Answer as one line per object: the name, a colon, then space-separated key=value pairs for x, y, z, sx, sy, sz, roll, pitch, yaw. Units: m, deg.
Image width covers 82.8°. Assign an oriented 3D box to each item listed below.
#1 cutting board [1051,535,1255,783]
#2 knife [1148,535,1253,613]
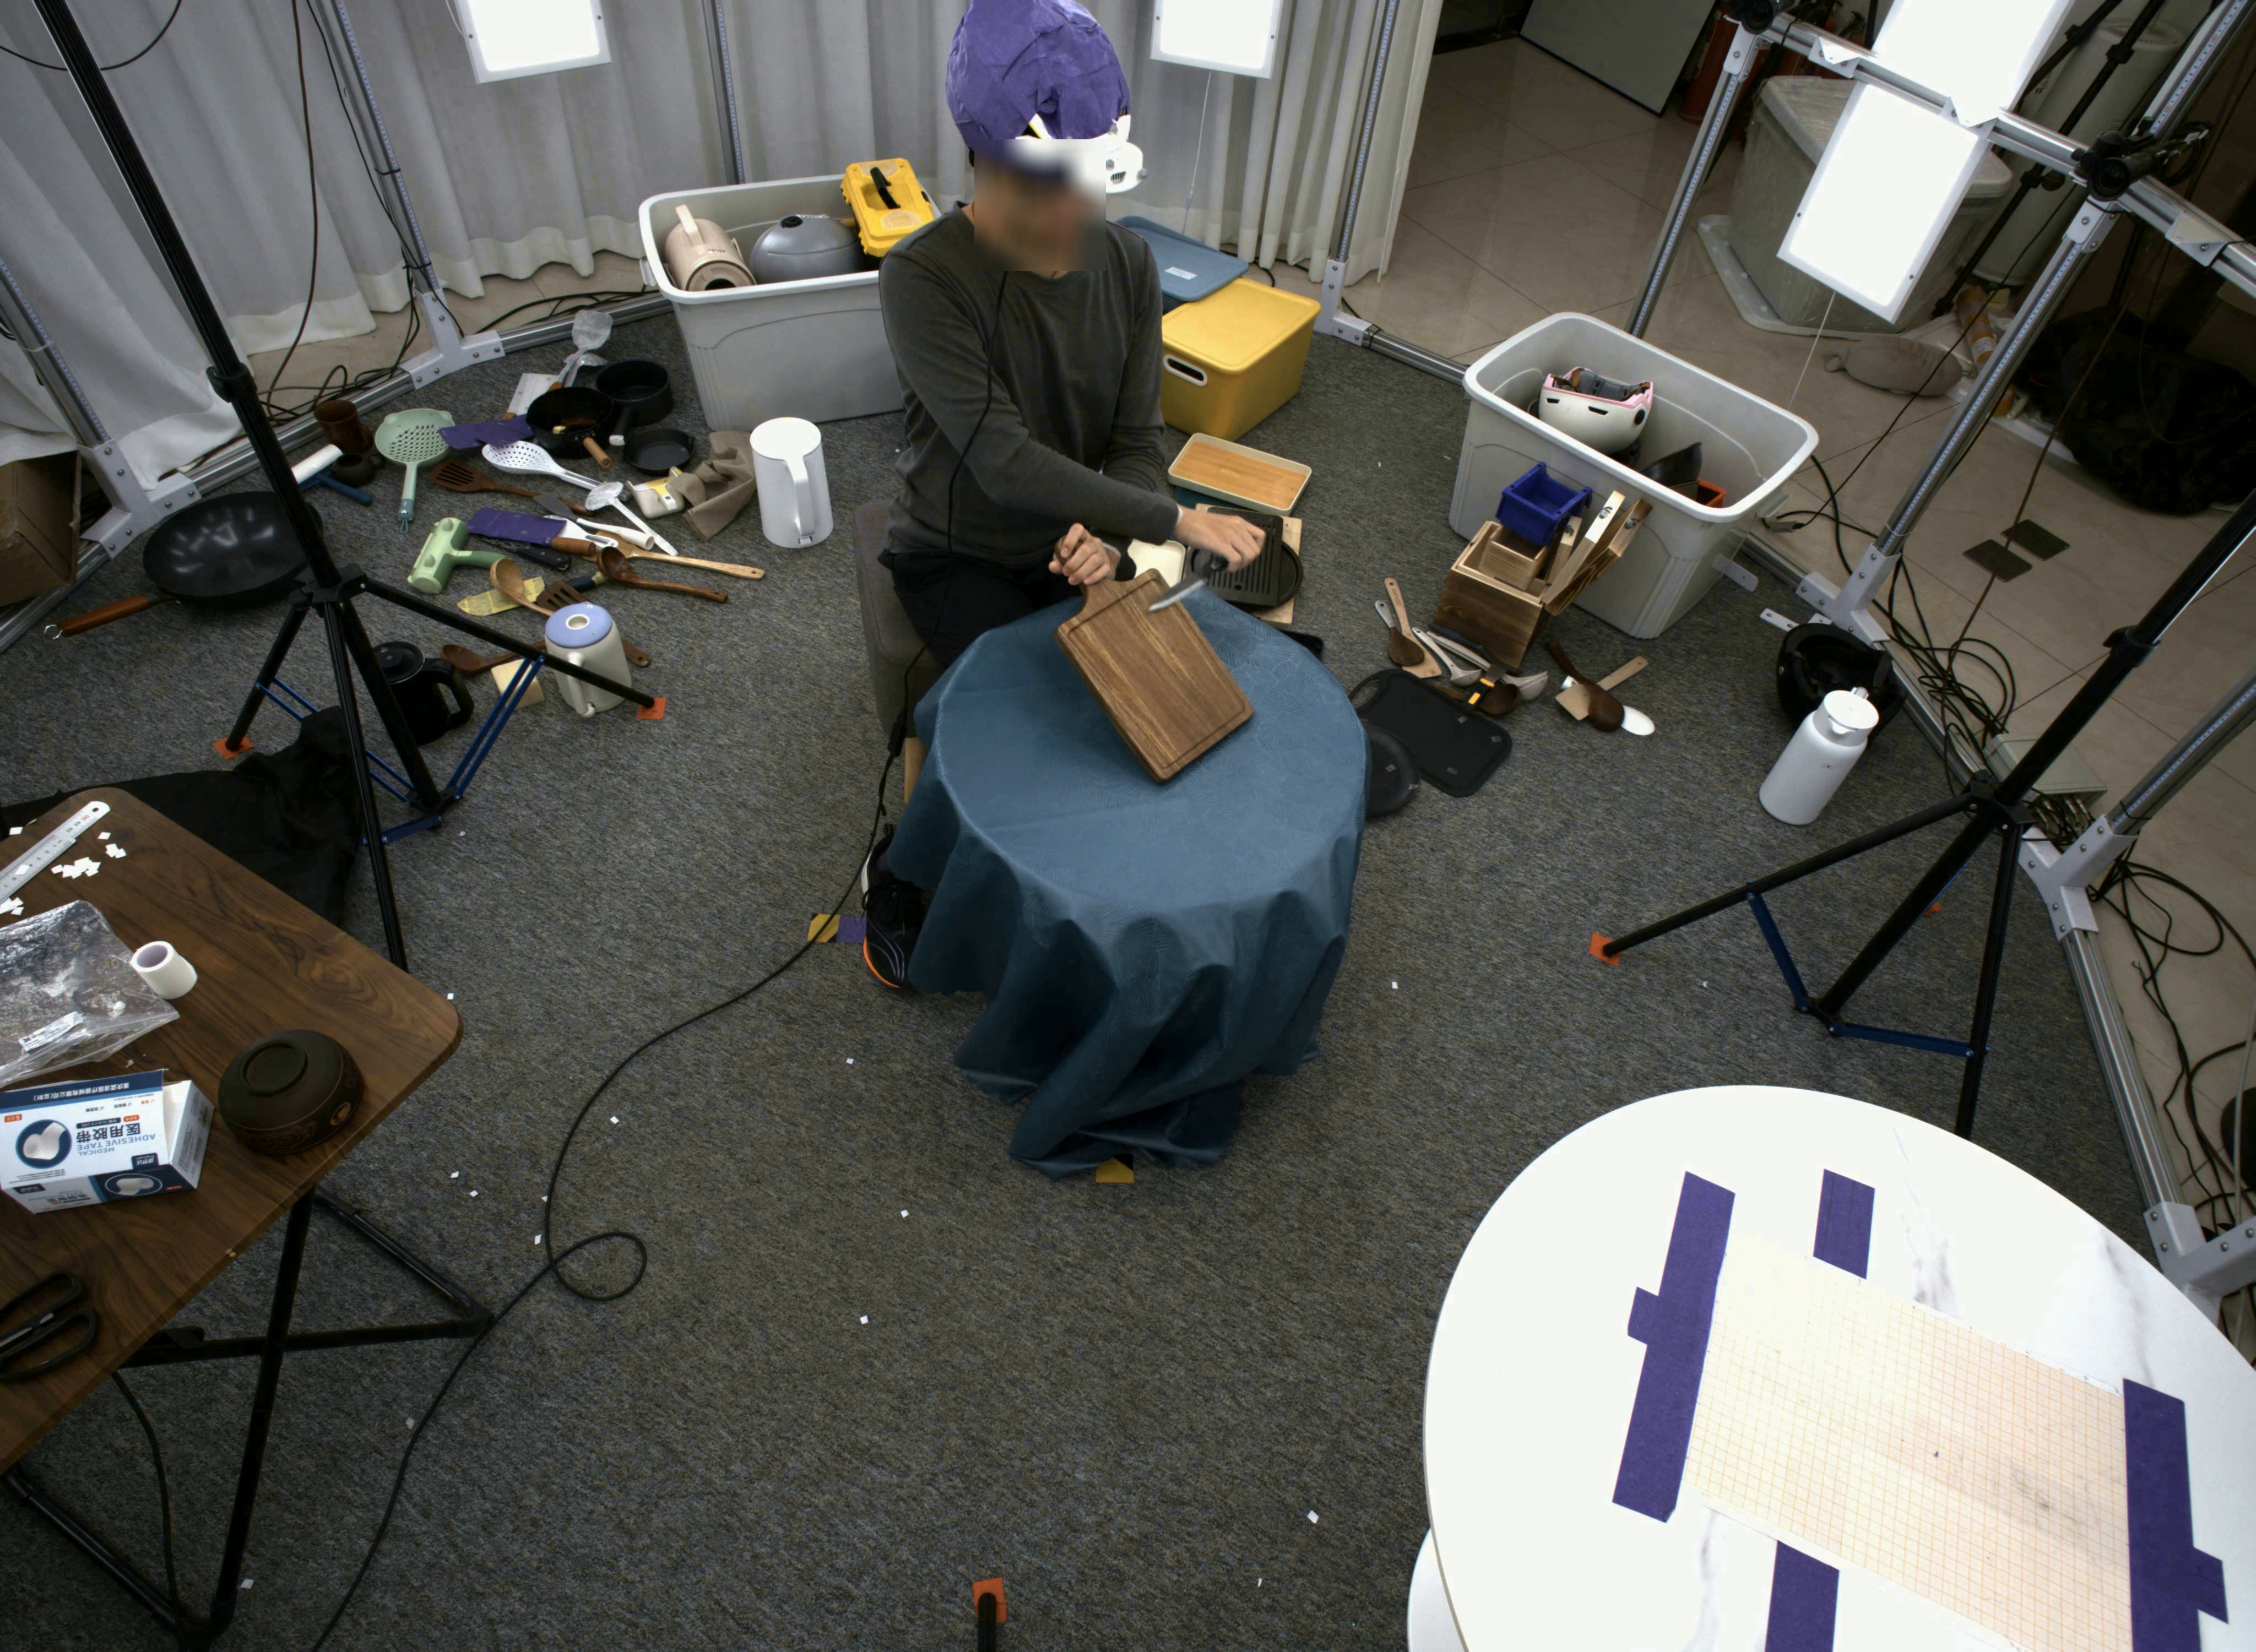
cutting board: x=0.010 y=-0.249 z=1.756 sx=0.203 sy=0.023 sz=0.352 roll=-37 pitch=91 yaw=-30
knife: x=0.102 y=-0.360 z=1.828 sx=0.241 sy=0.016 sz=0.024 roll=-40 pitch=101 yaw=-34
